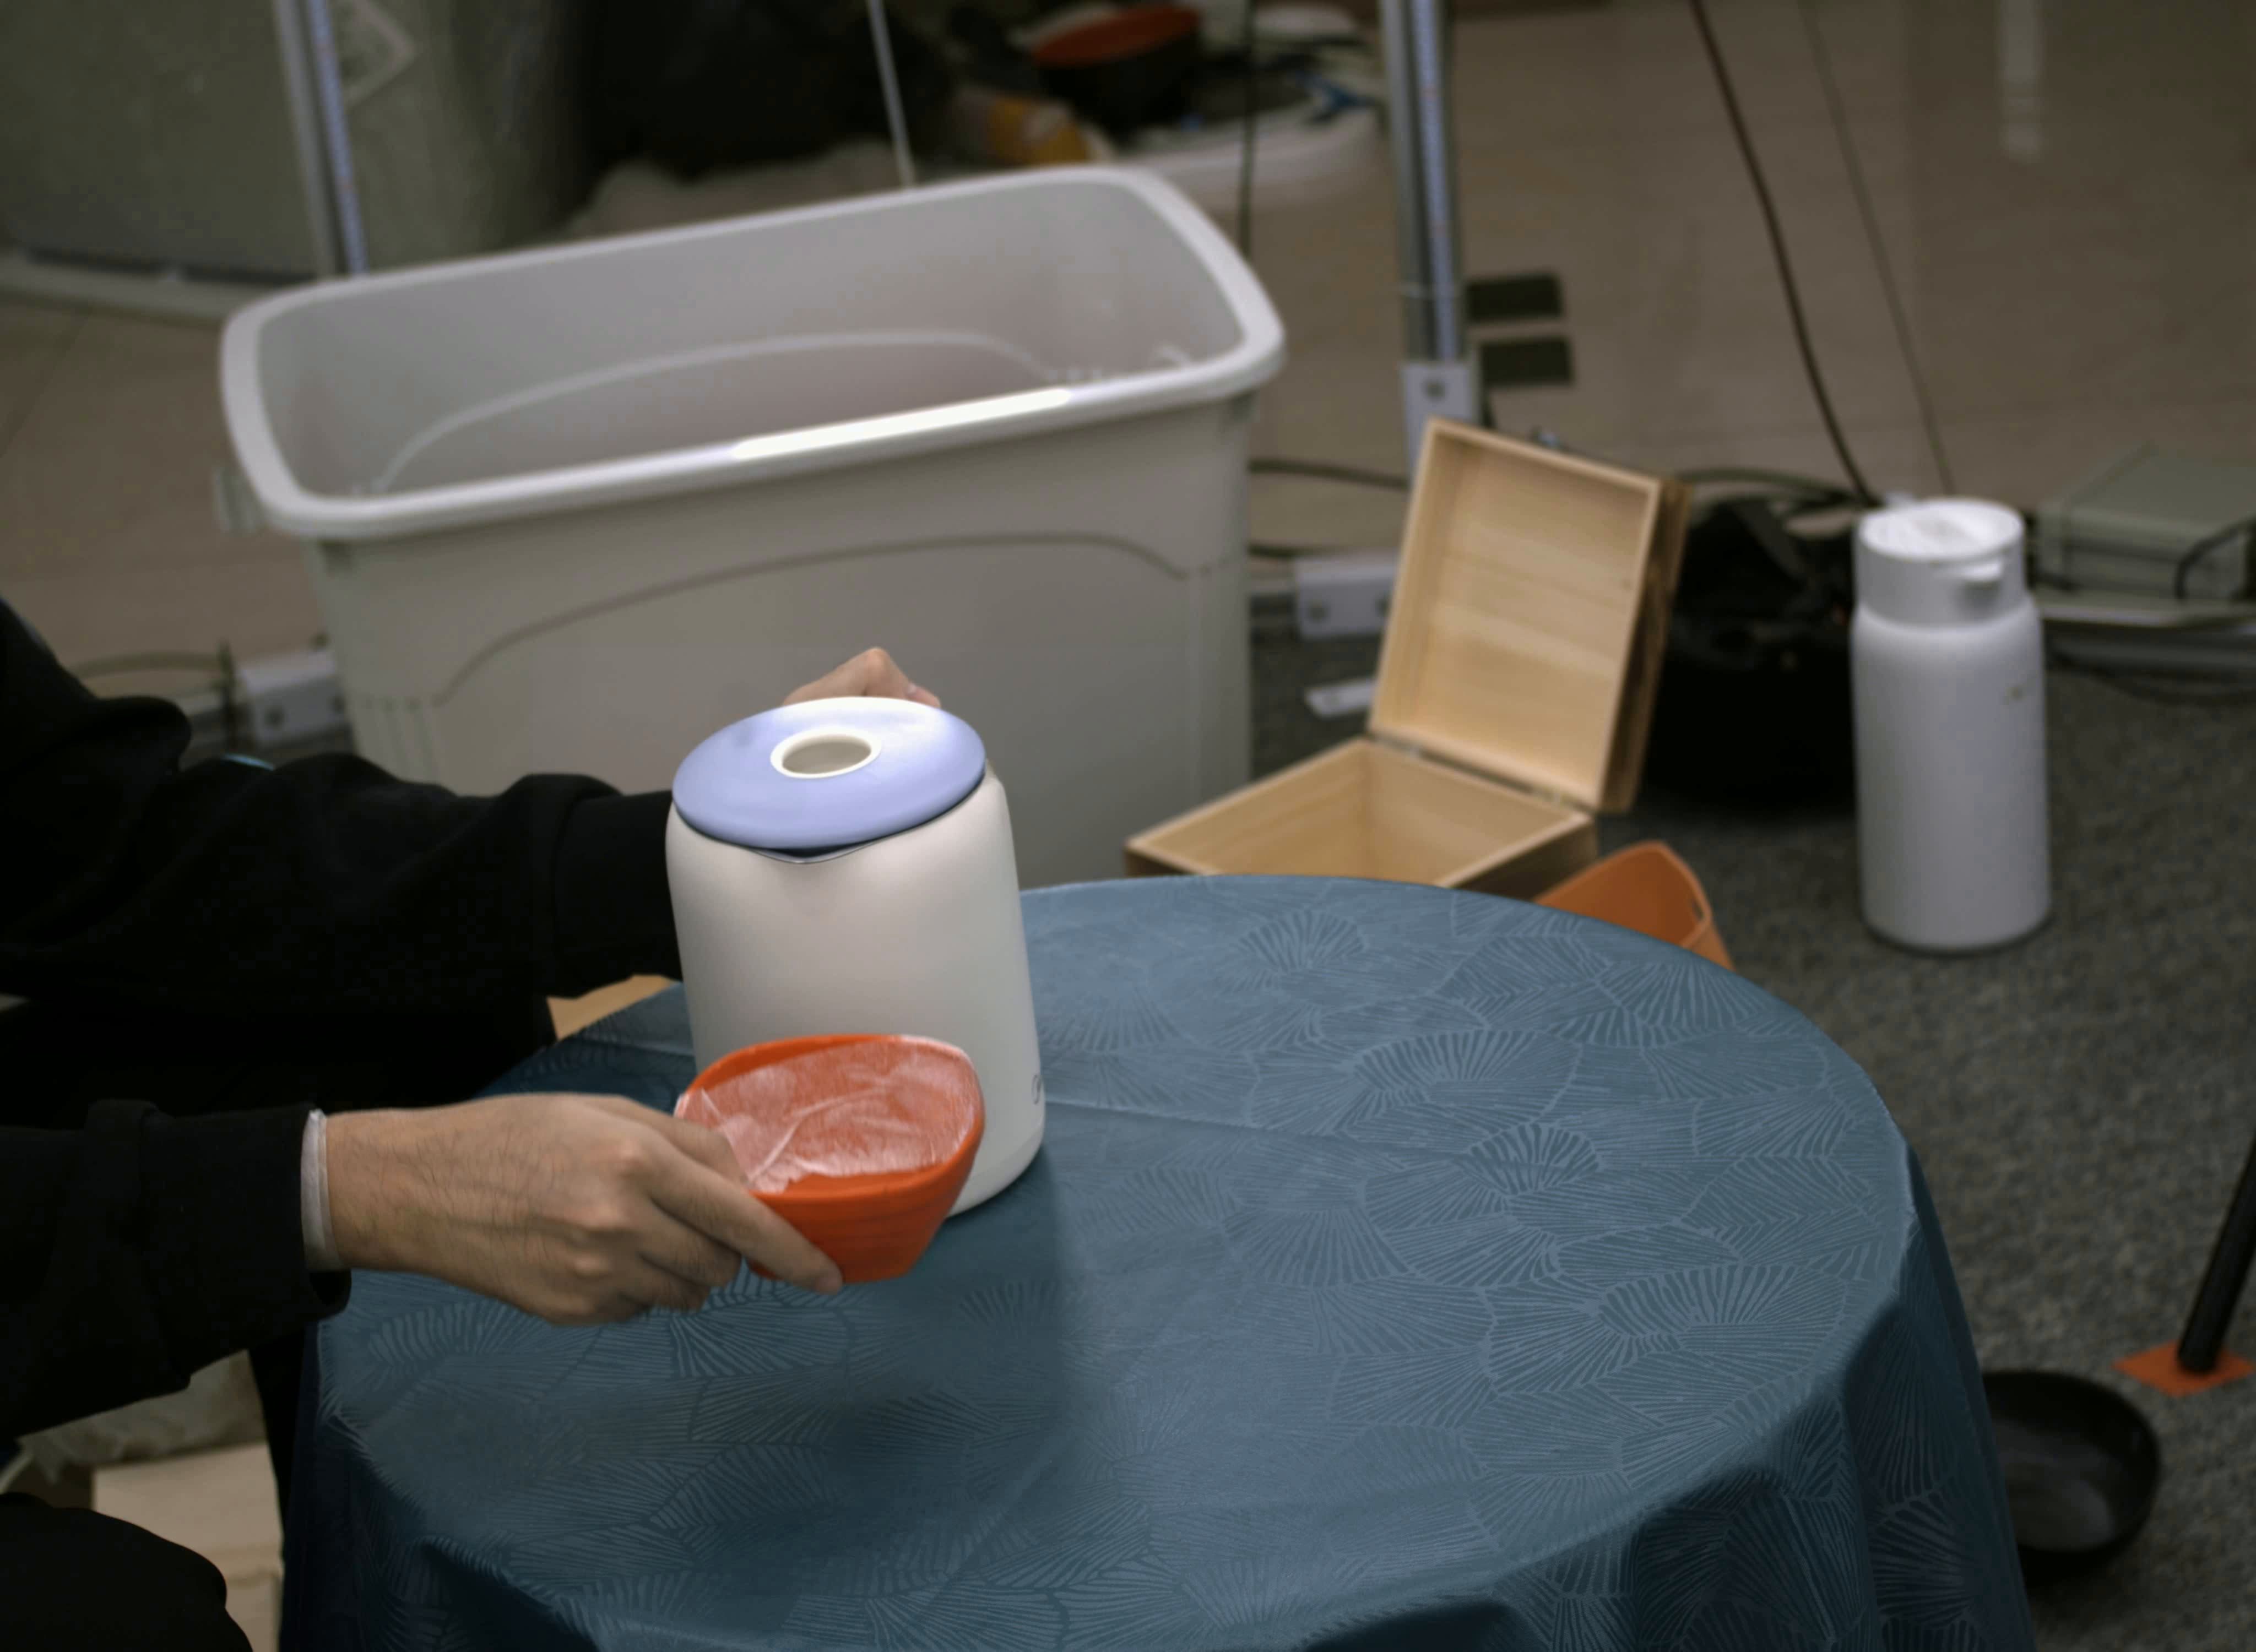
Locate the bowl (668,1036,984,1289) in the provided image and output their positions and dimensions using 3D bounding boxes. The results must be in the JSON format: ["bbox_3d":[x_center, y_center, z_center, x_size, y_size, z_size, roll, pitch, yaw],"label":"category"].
[{"bbox_3d":[-0.105,0.123,1.993,0.119,0.052,0.117,-2,30,1],"label":"bowl"}]

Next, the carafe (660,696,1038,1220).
[{"bbox_3d":[-0.104,0.042,2.168,0.132,0.185,0.188,-3,25,4],"label":"carafe"}]
